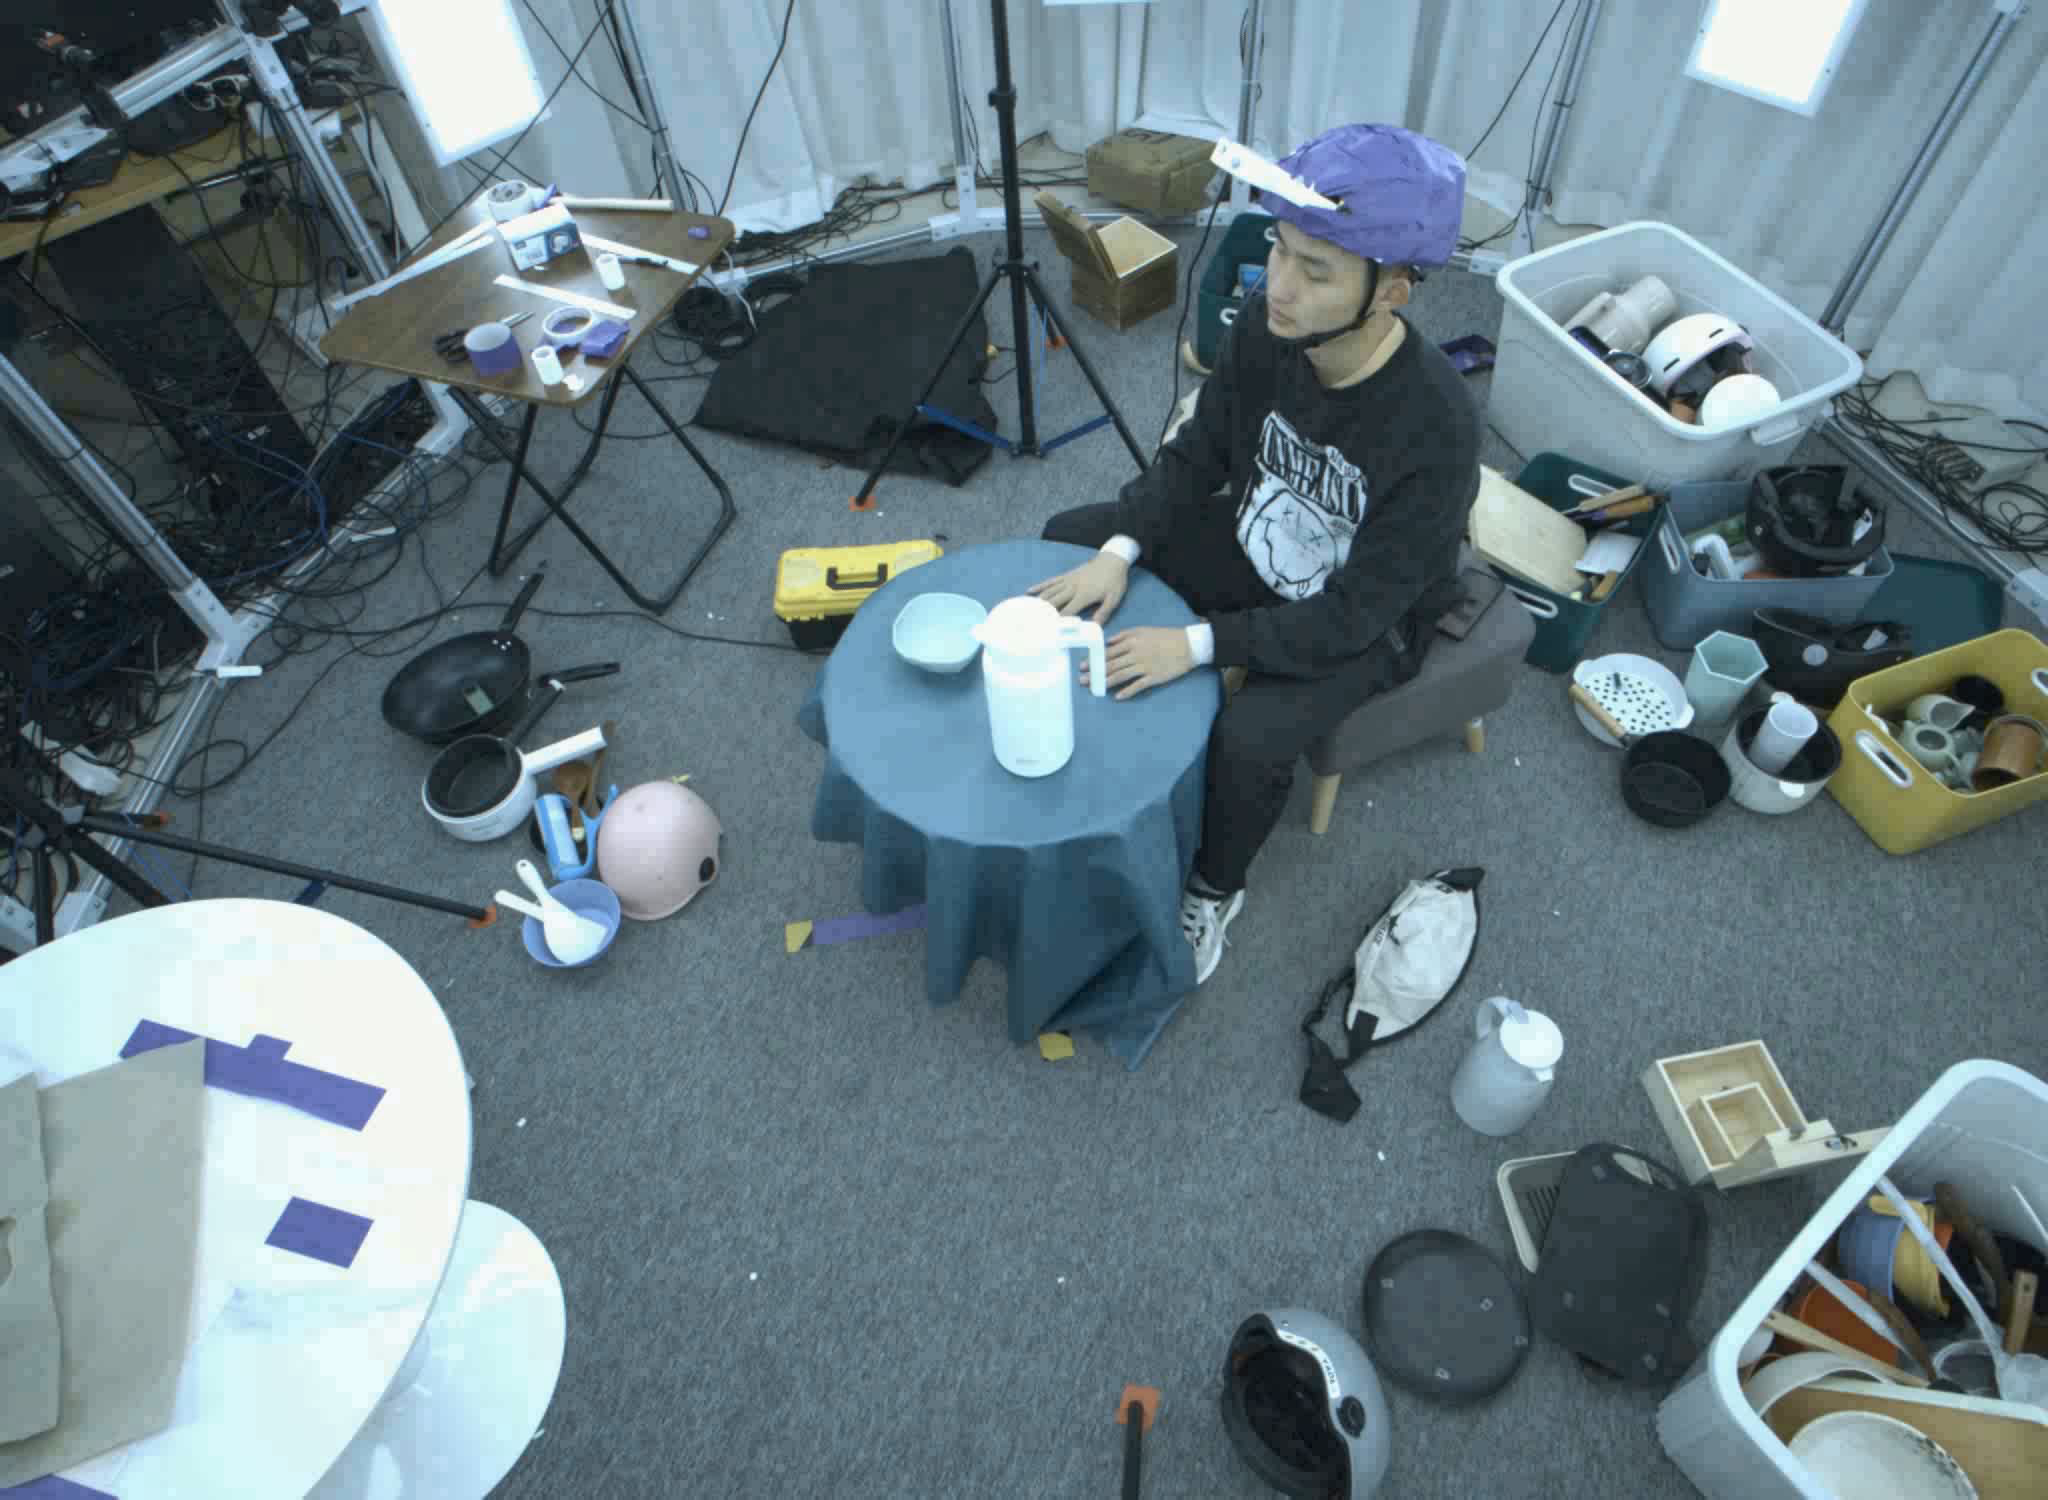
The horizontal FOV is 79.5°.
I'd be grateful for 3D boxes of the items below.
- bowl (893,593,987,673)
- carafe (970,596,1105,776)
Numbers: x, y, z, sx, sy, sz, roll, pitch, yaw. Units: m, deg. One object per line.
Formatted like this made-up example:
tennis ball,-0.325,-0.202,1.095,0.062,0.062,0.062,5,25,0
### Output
bowl,-0.125,-0.169,1.875,0.151,0.059,0.150,0,55,2
carafe,0.024,-0.086,1.679,0.173,0.272,0.122,-5,52,0
